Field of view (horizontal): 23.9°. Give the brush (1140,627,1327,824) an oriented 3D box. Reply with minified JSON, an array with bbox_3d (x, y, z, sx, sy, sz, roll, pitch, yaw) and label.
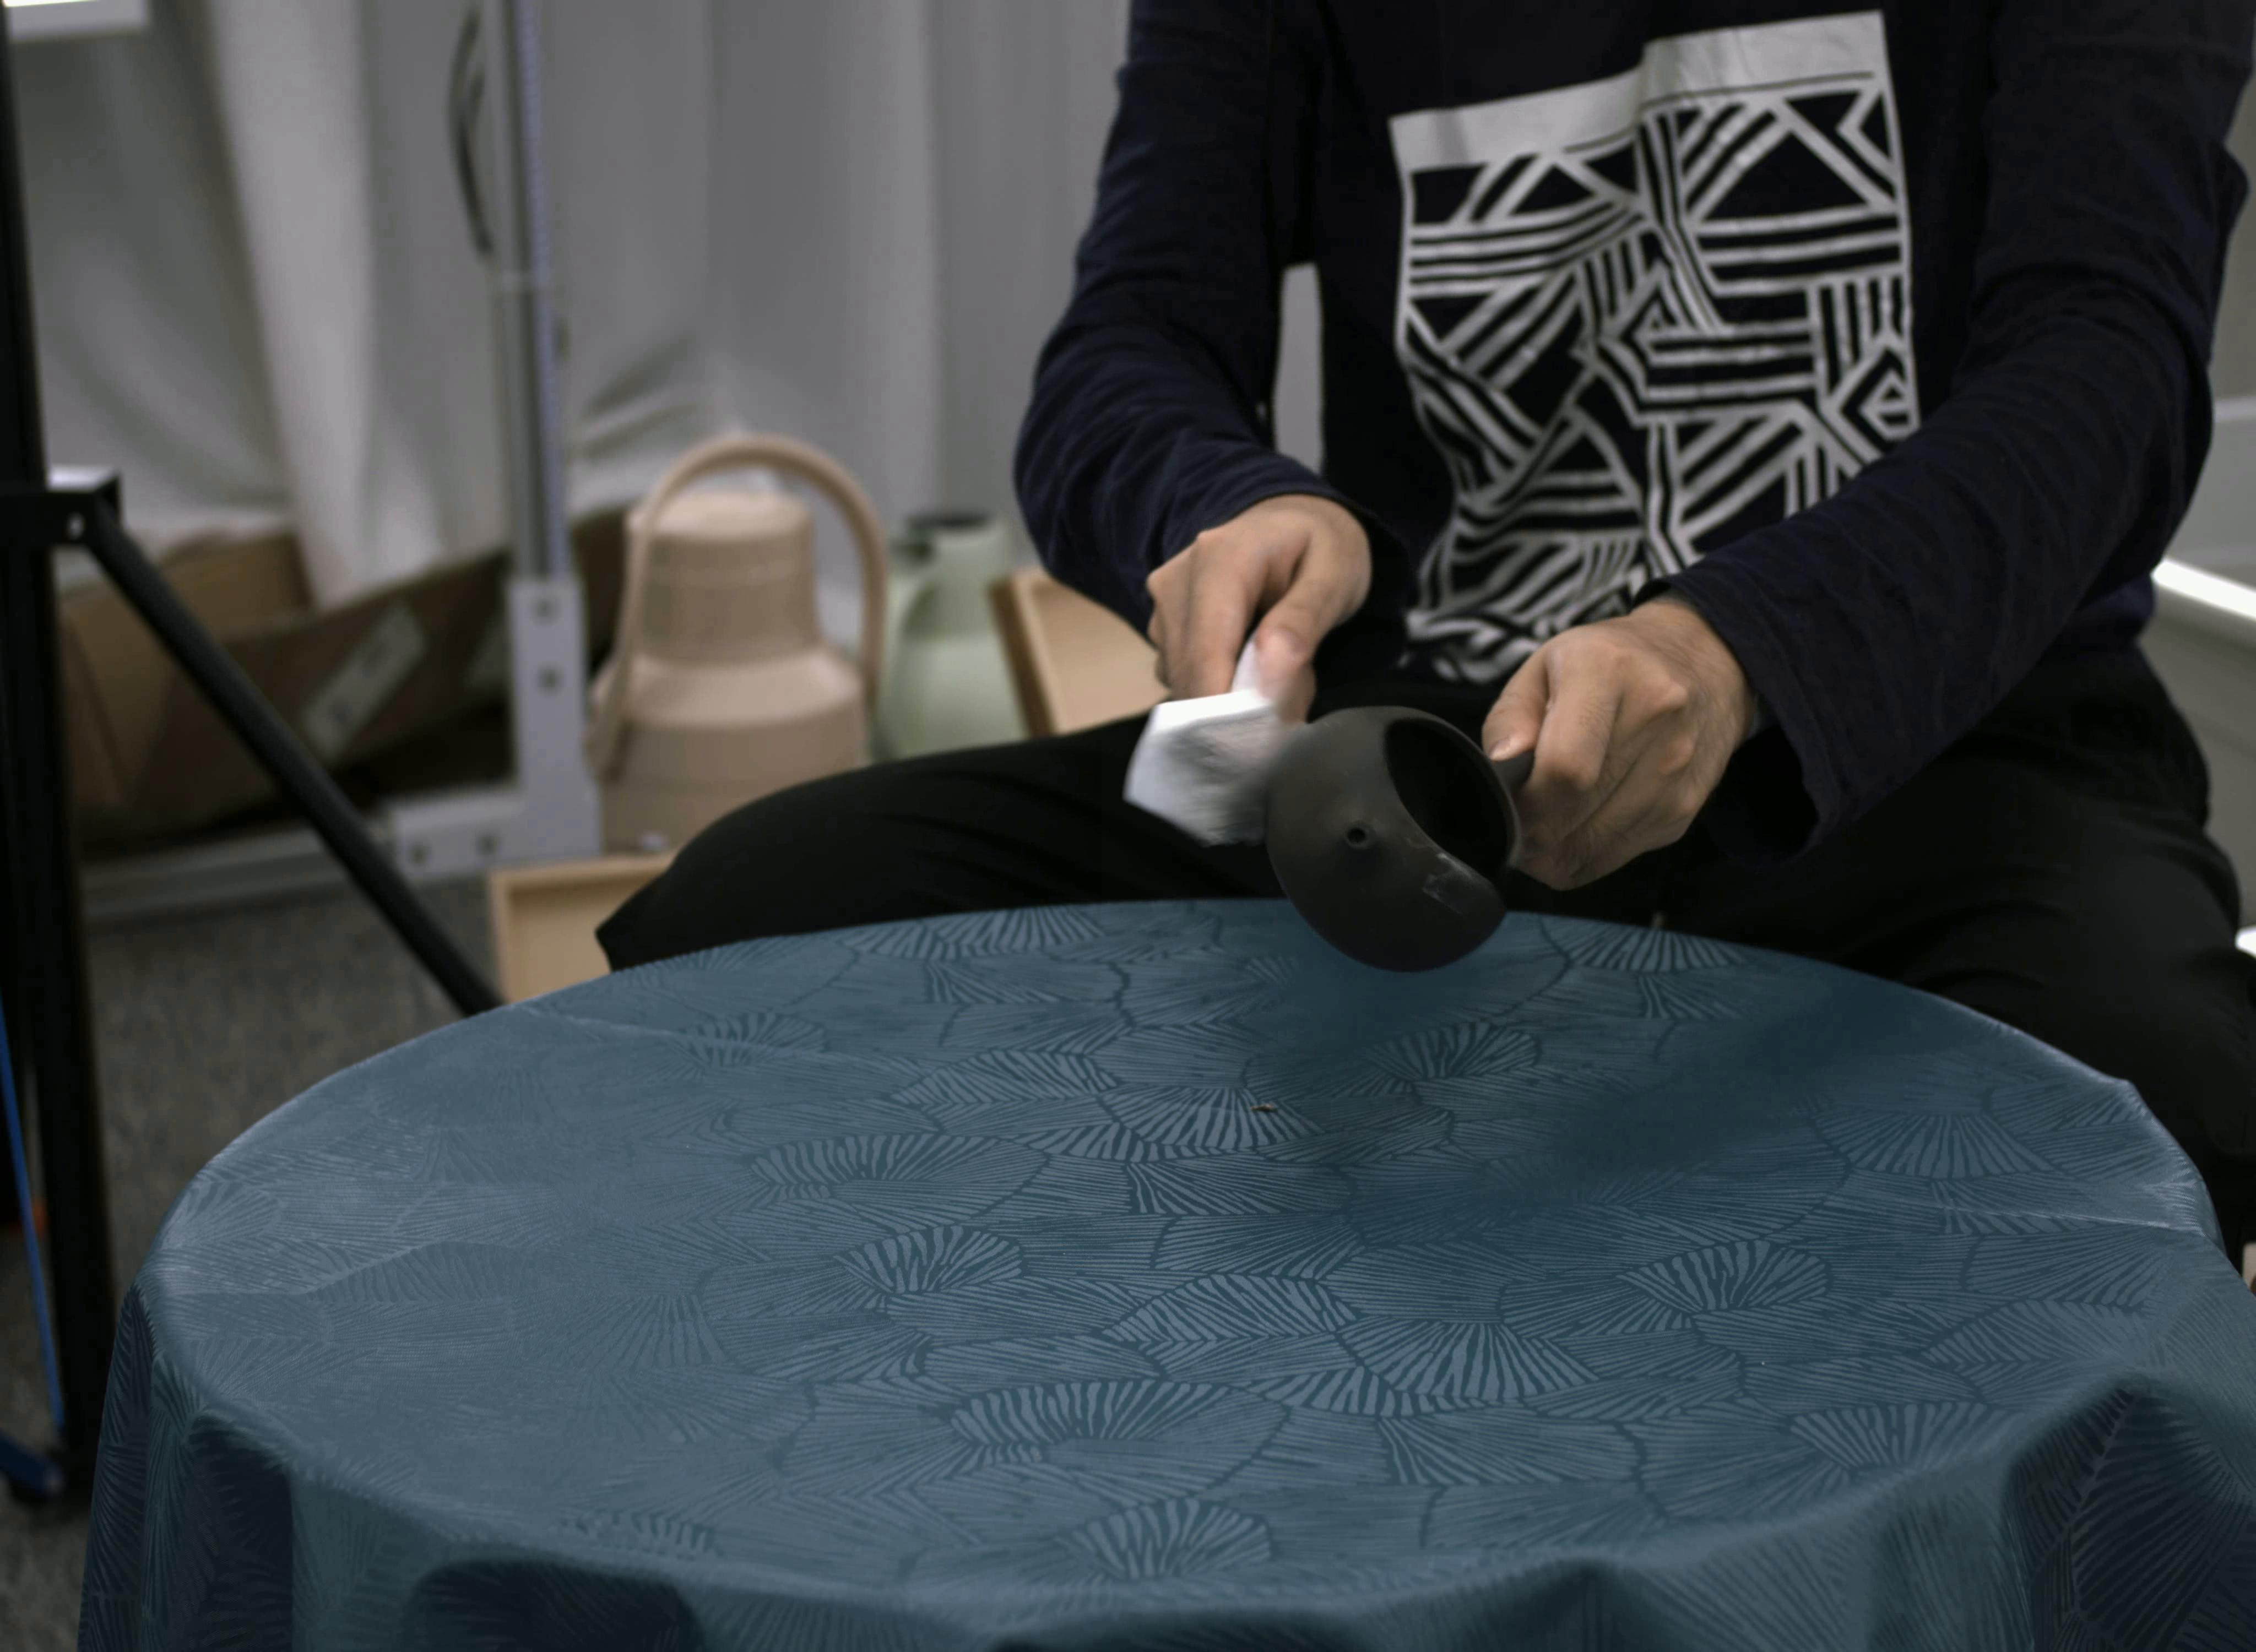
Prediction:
[{"bbox_3d":[0.048,-0.034,1.680,0.050,0.034,0.242,19,11,7],"label":"brush"}]

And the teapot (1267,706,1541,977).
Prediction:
[{"bbox_3d":[0.087,0.001,1.572,0.053,0.084,0.111,-41,-13,37],"label":"teapot"}]
